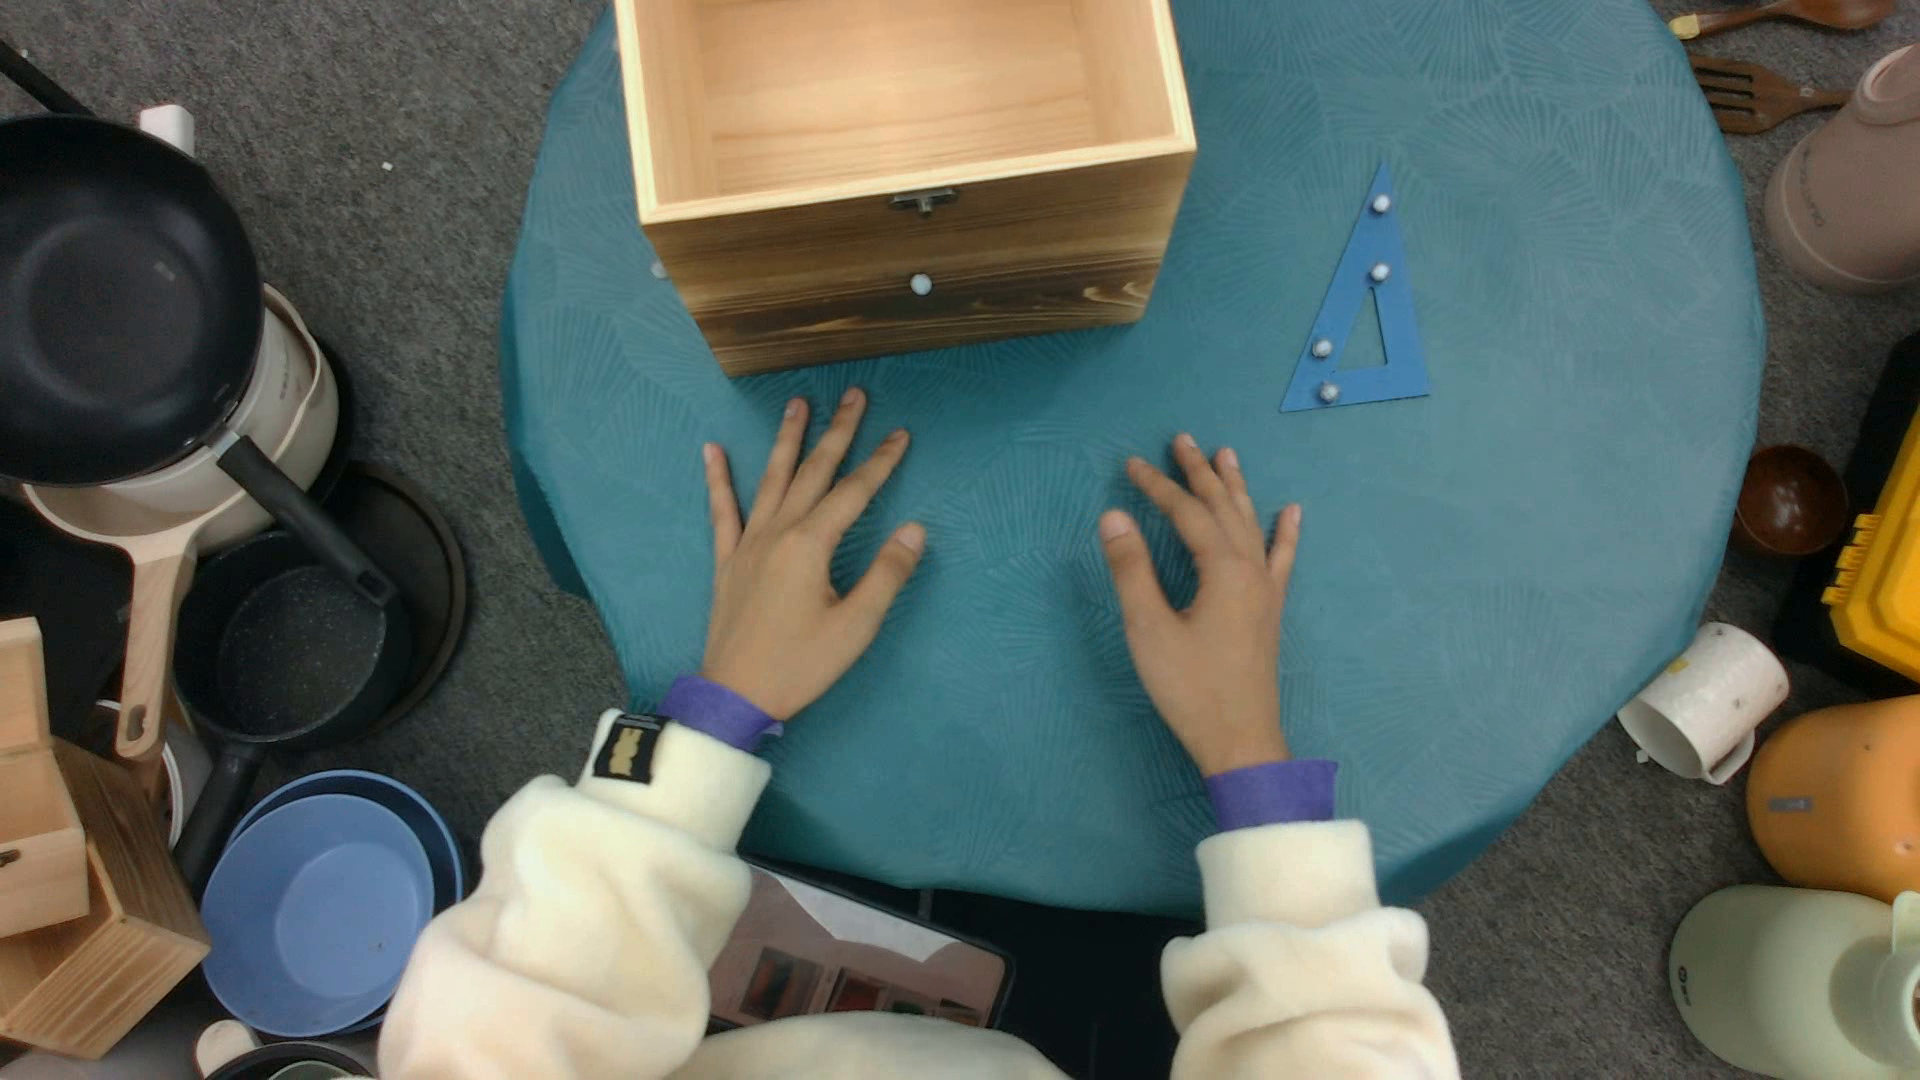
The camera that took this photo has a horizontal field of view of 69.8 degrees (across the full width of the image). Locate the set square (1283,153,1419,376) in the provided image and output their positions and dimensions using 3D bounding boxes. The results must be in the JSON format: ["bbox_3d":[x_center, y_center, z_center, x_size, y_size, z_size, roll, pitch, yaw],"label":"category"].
[{"bbox_3d":[0.207,-0.125,0.663,0.061,0.006,0.132,26,79,8],"label":"set square"}]

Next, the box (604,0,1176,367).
[{"bbox_3d":[-0.045,-0.280,0.517,0.209,0.374,0.322,-9,77,-1],"label":"box"}]
